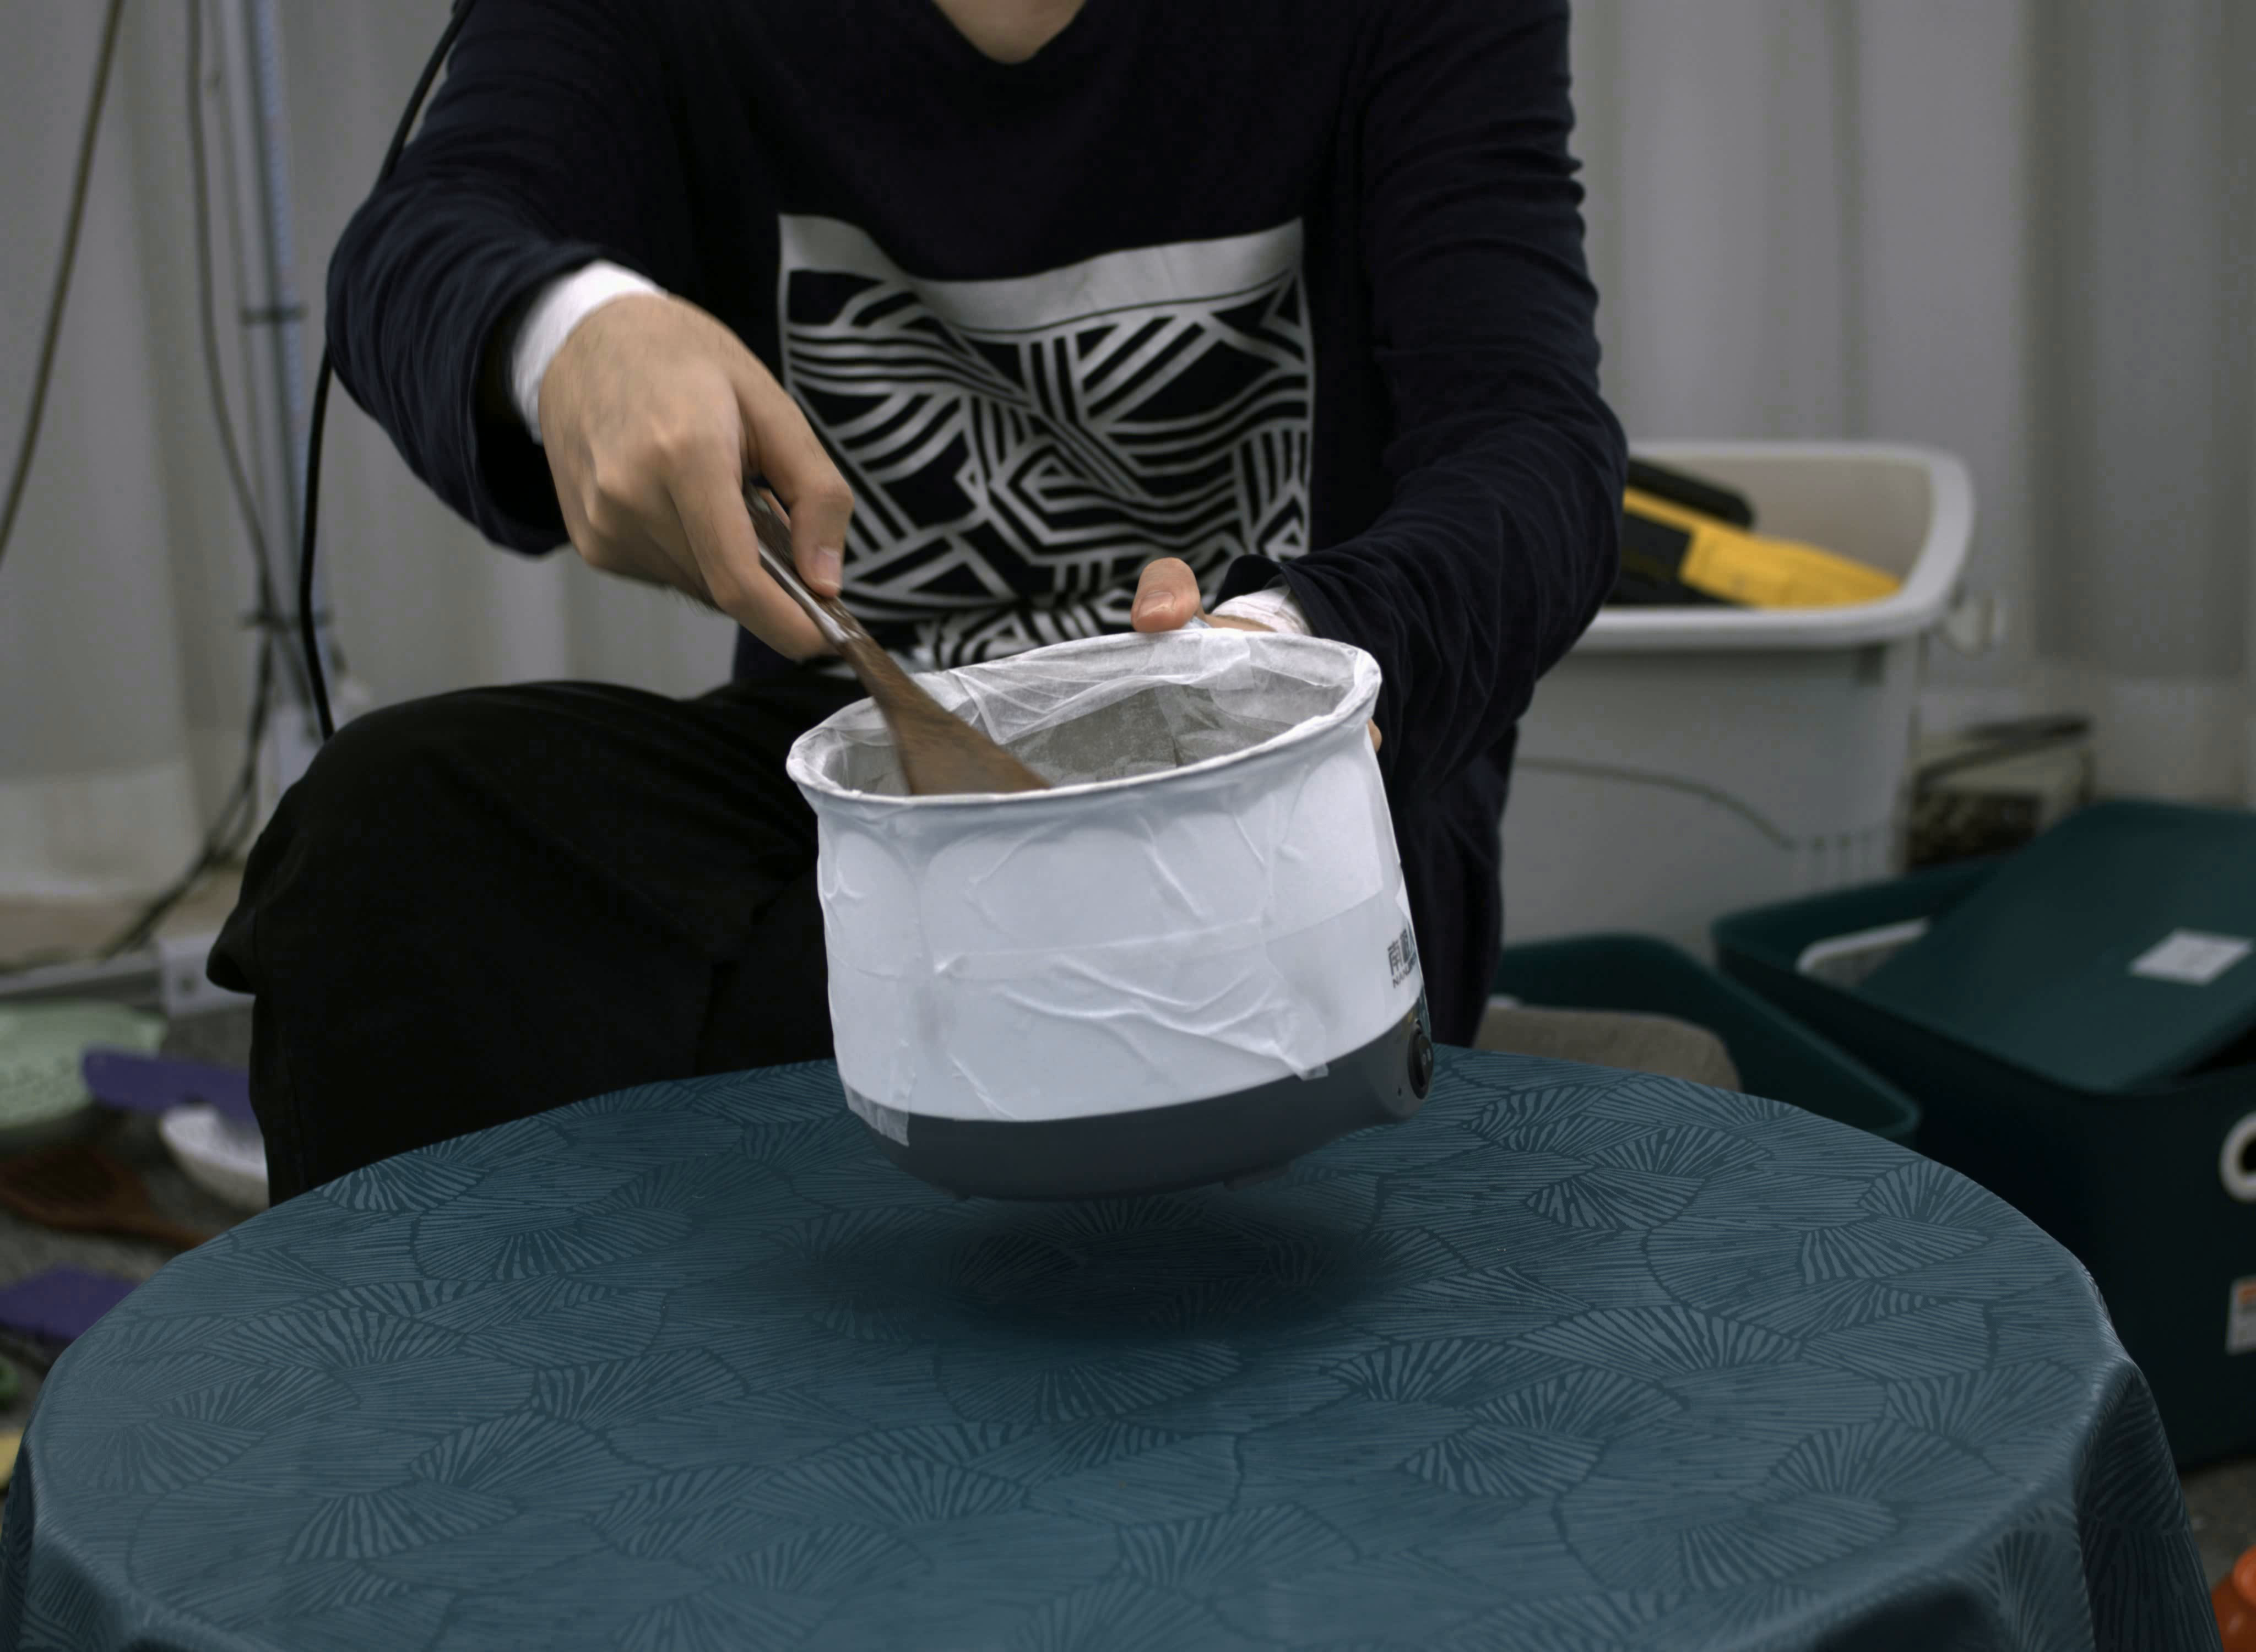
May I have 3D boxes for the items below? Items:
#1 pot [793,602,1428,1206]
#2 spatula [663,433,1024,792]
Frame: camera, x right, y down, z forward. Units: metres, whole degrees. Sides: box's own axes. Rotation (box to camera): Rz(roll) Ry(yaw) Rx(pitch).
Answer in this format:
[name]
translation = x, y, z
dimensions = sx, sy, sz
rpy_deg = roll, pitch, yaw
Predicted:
[pot]
translation = 0.003, 0.018, 1.651
dimensions = 0.178, 0.136, 0.235
rpy_deg = -2, 17, 16
[spatula]
translation = -0.078, -0.043, 1.649
dimensions = 0.071, 0.009, 0.218
rpy_deg = 2, 44, -55
